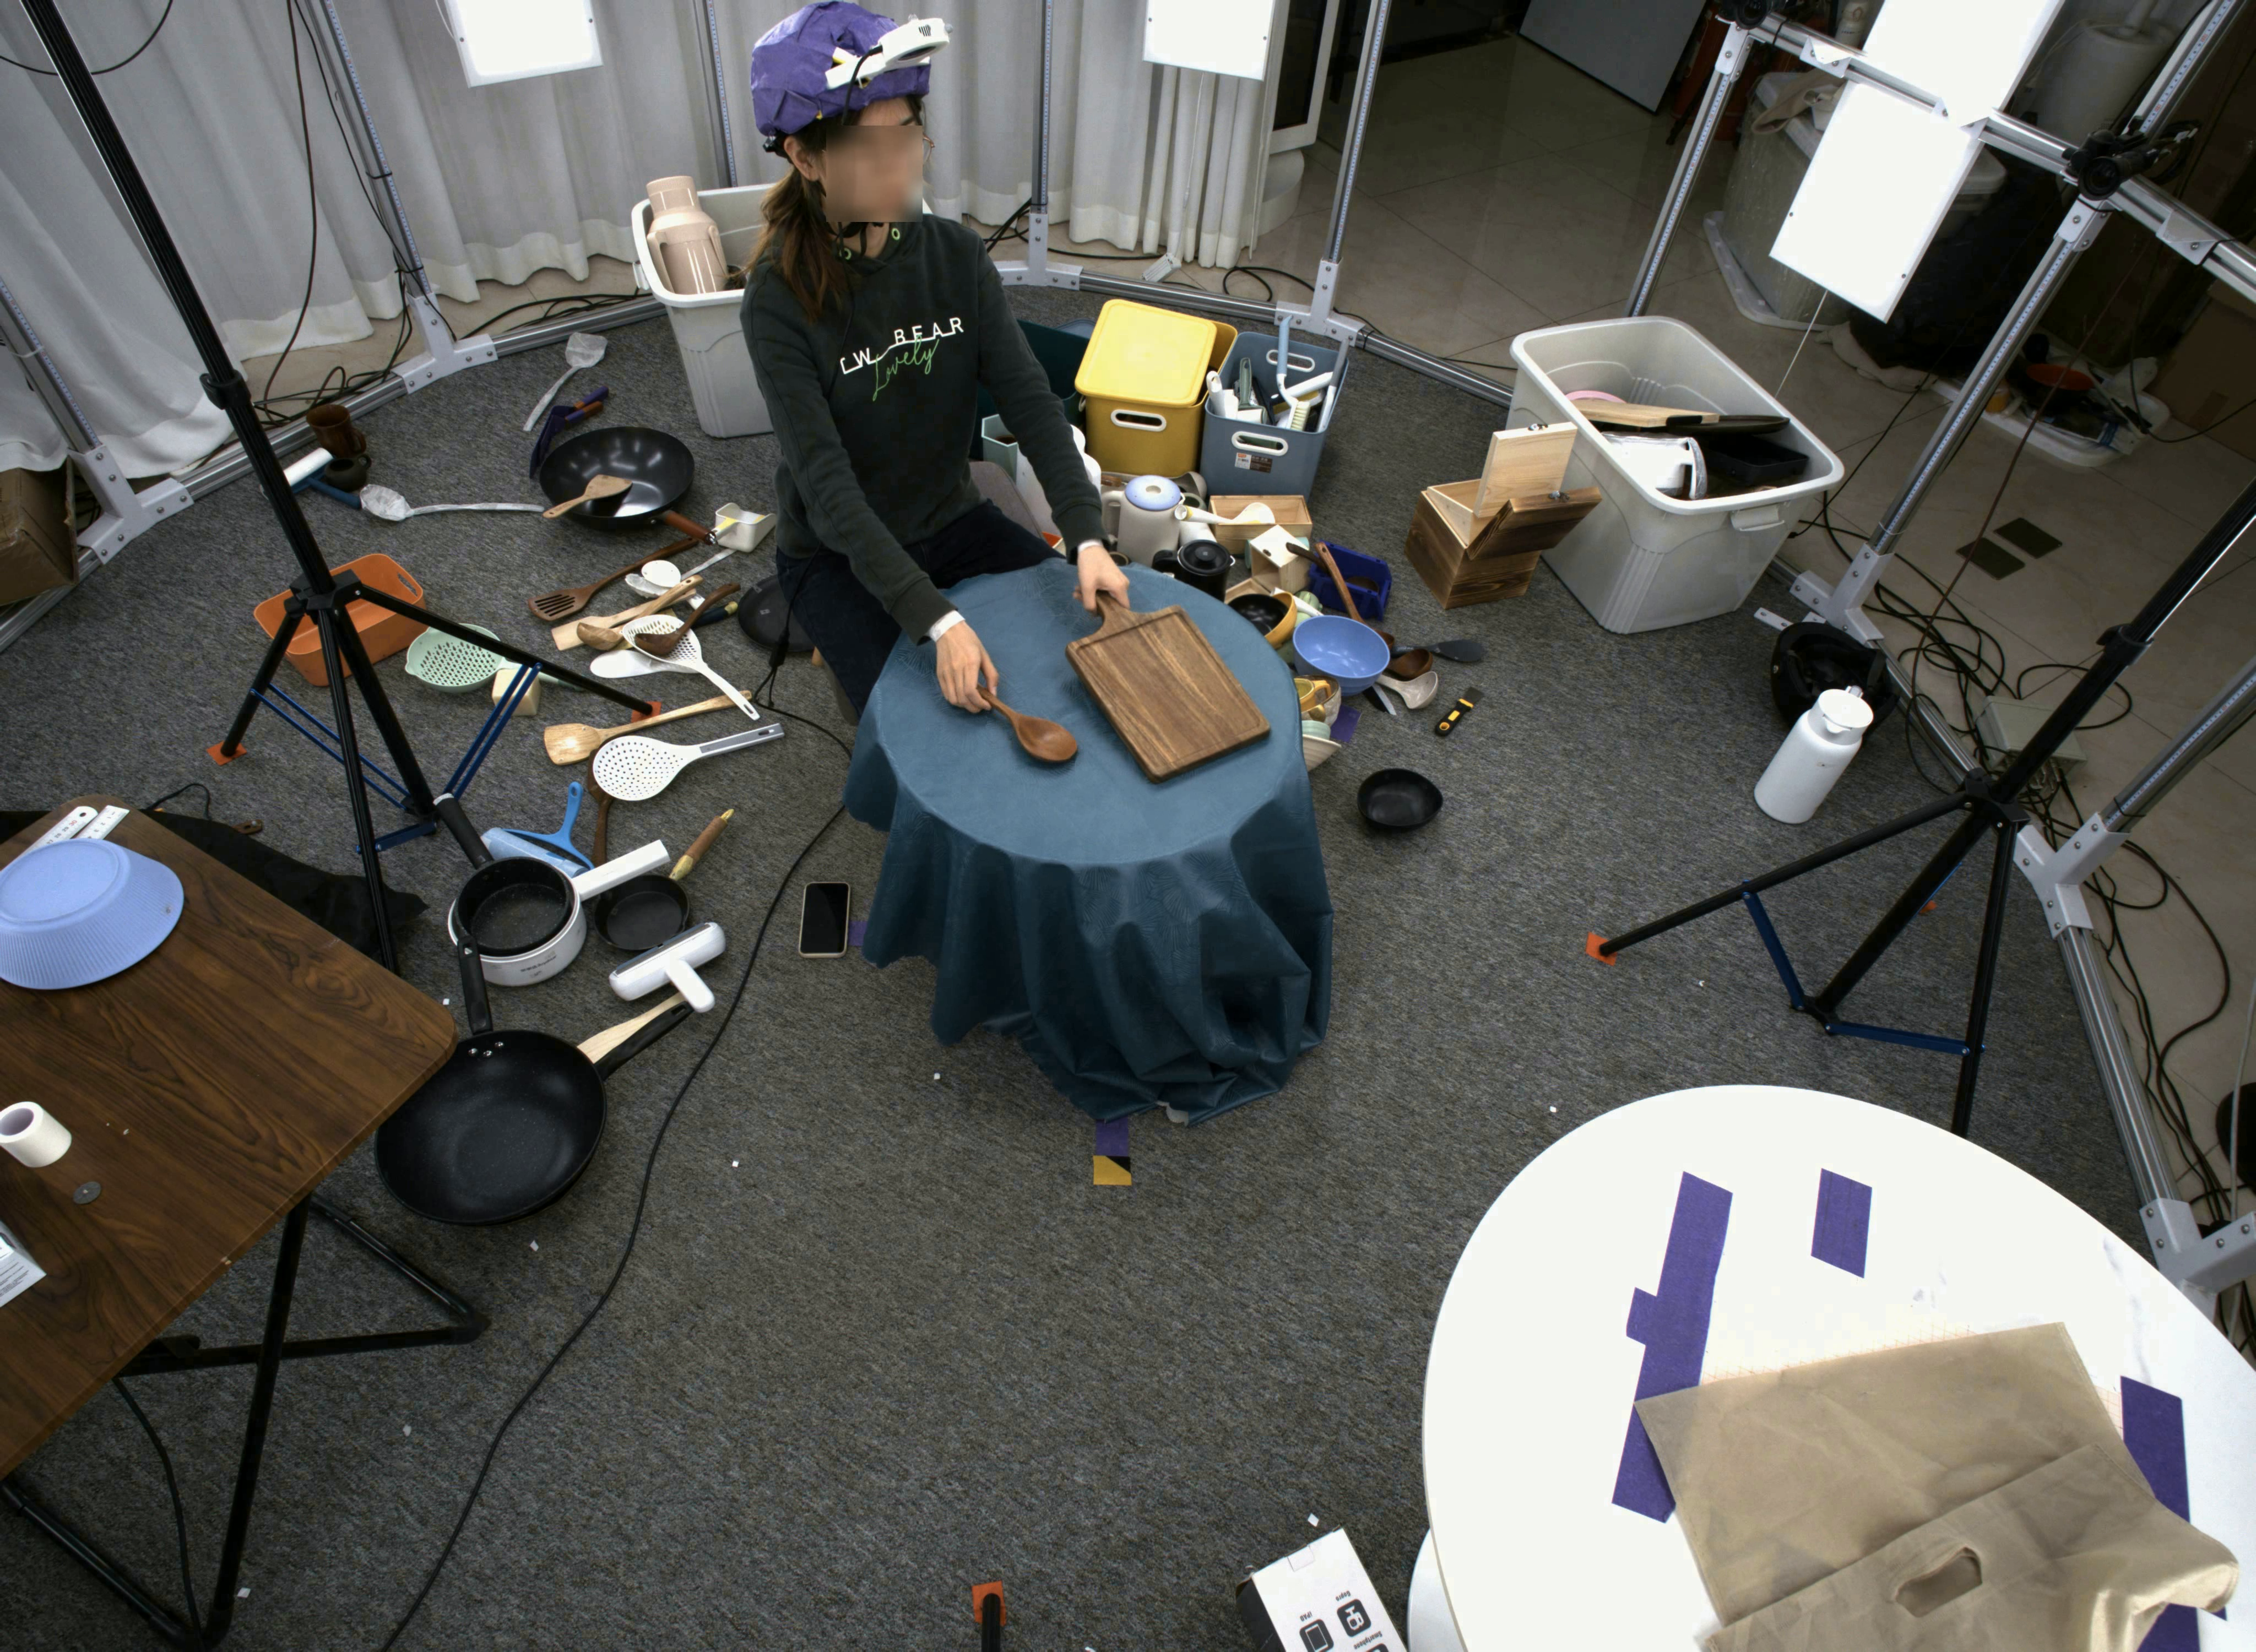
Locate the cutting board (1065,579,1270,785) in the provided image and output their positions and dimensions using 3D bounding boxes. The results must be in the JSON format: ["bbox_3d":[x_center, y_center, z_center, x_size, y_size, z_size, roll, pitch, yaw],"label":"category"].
[{"bbox_3d":[0.030,-0.228,1.839,0.202,0.023,0.358,-23,63,-21],"label":"cutting board"}]

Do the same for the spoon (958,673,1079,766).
[{"bbox_3d":[-0.156,-0.150,1.785,0.218,0.017,0.076,39,53,21],"label":"spoon"}]
